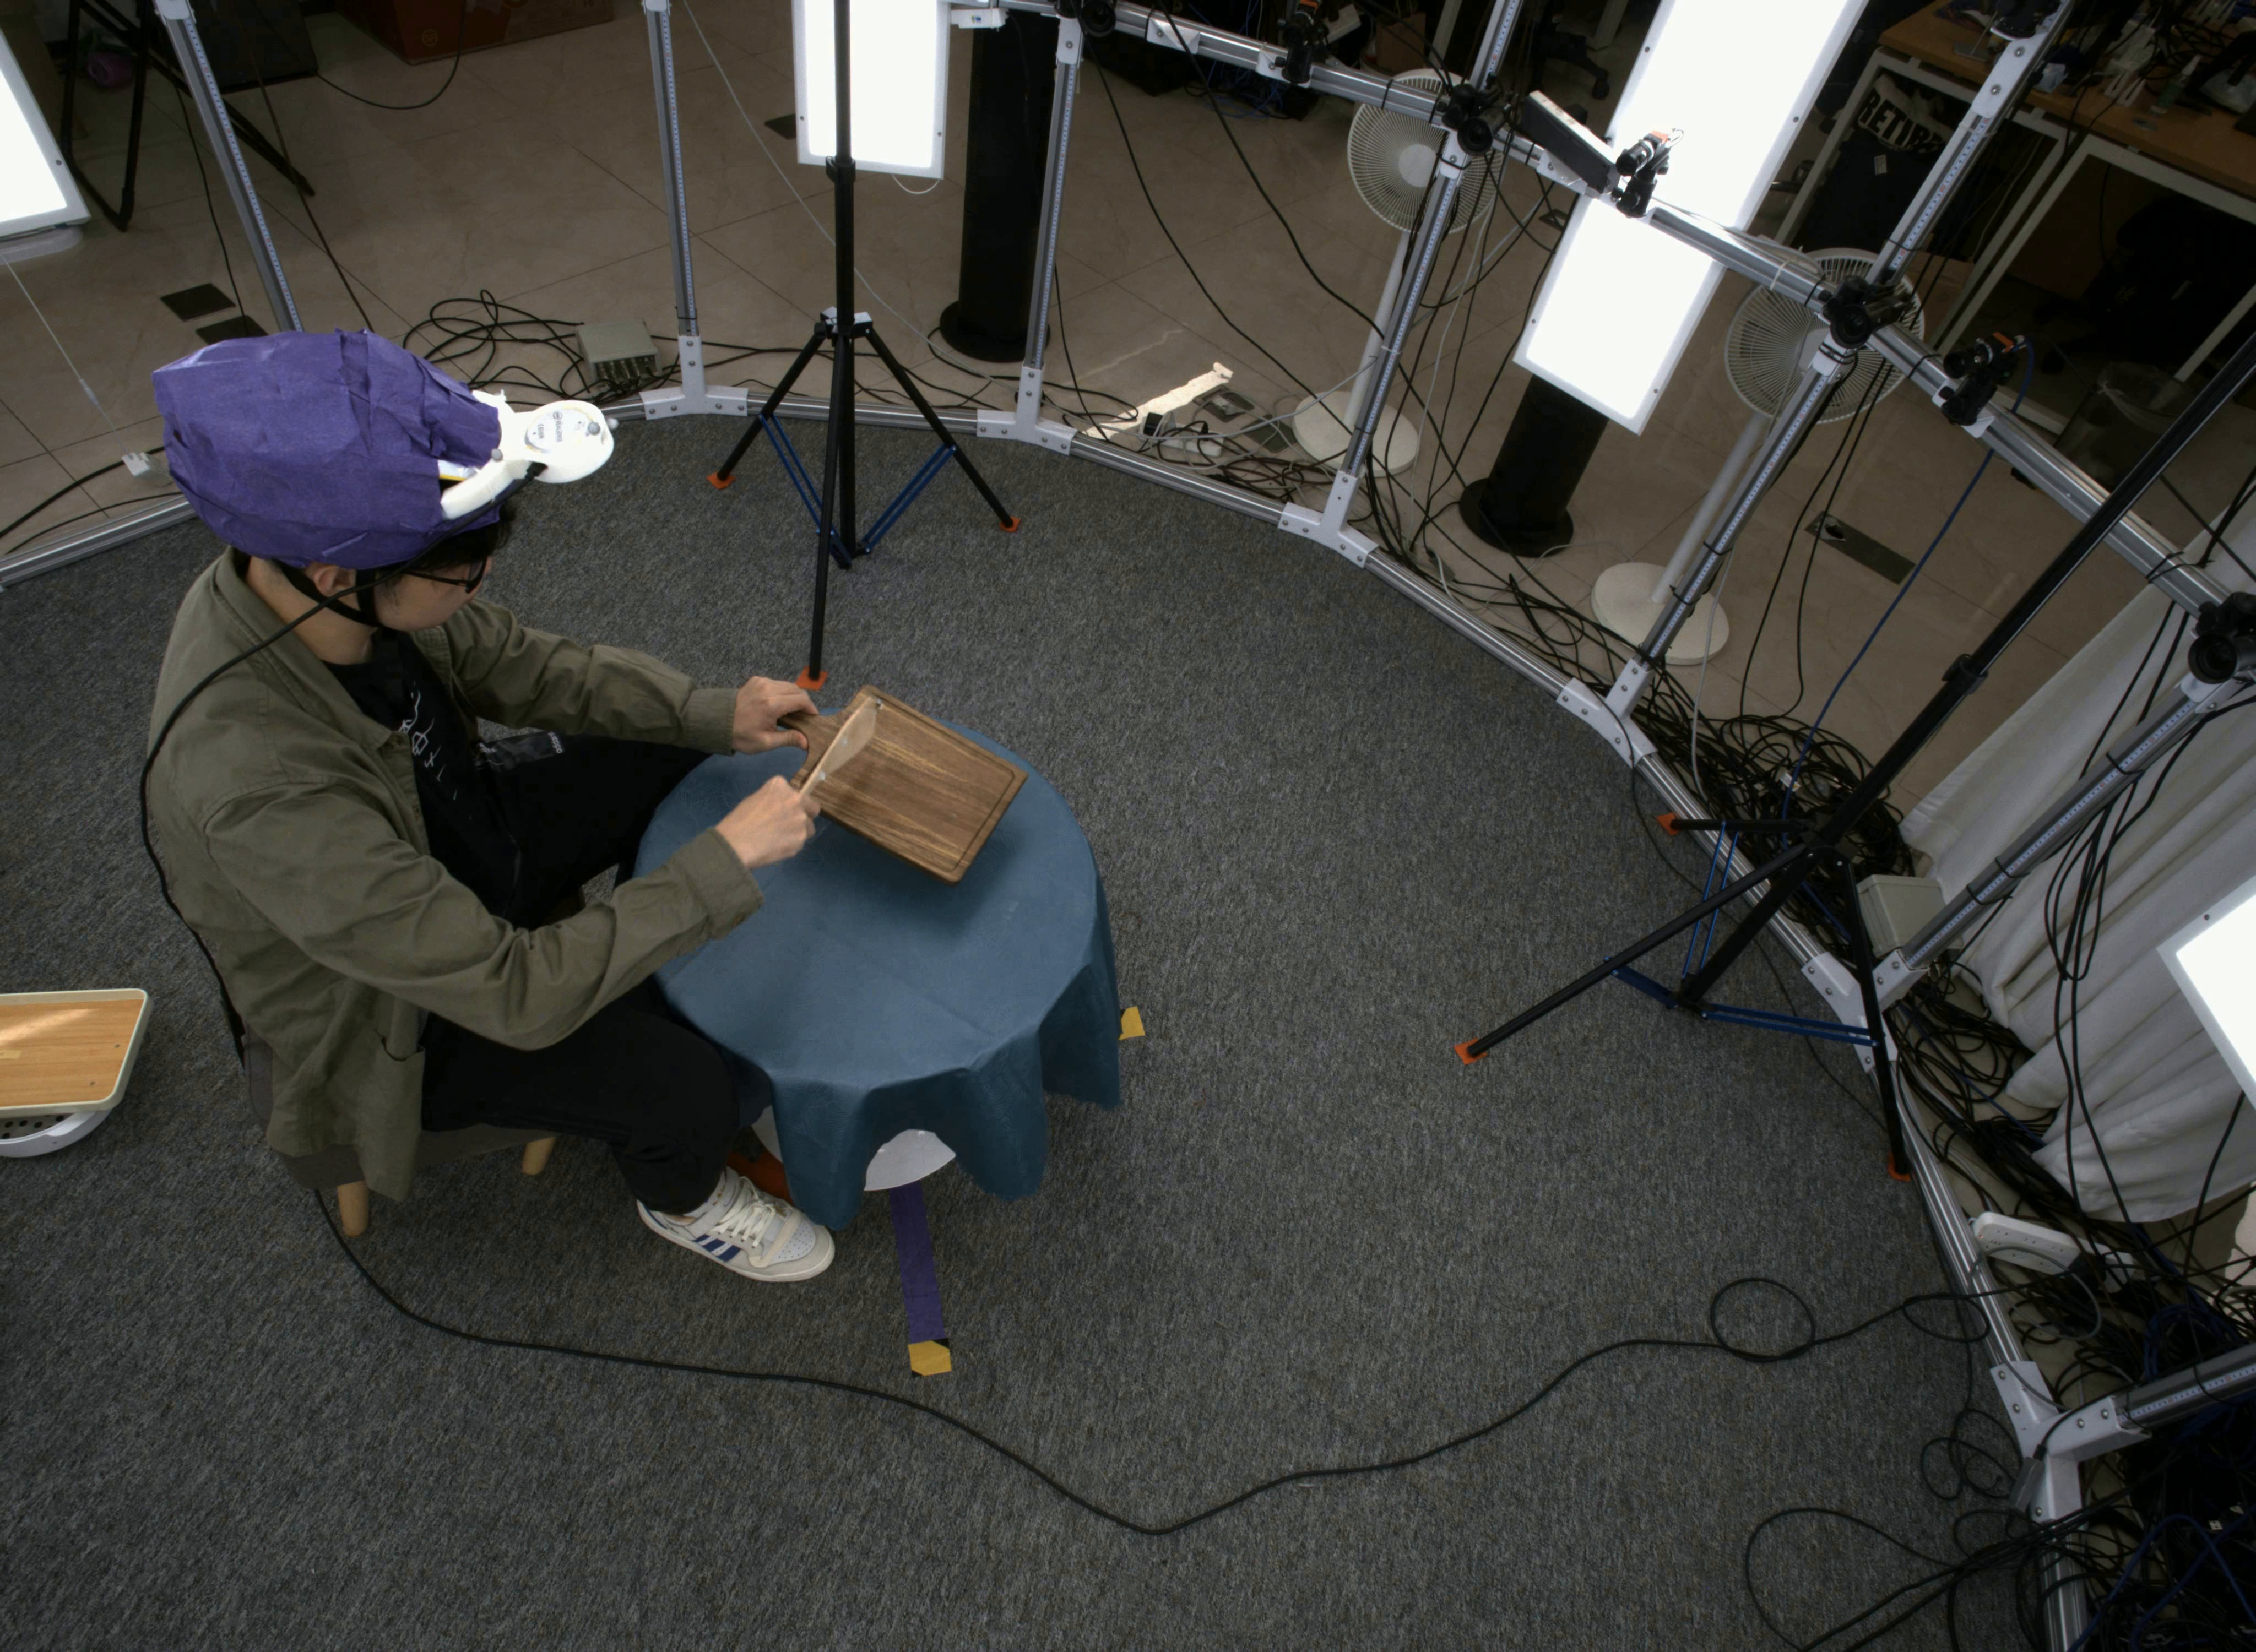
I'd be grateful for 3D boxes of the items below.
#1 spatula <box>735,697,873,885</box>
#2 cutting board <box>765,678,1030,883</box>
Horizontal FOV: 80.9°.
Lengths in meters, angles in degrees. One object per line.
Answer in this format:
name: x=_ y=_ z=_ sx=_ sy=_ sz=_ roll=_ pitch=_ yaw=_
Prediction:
spatula: x=-0.373 y=-0.042 z=1.514 sx=0.016 sy=0.082 sz=0.324 roll=21 pitch=43 yaw=4
cutting board: x=-0.321 y=-0.089 z=1.700 sx=0.351 sy=0.023 sz=0.200 roll=31 pitch=59 yaw=-1
